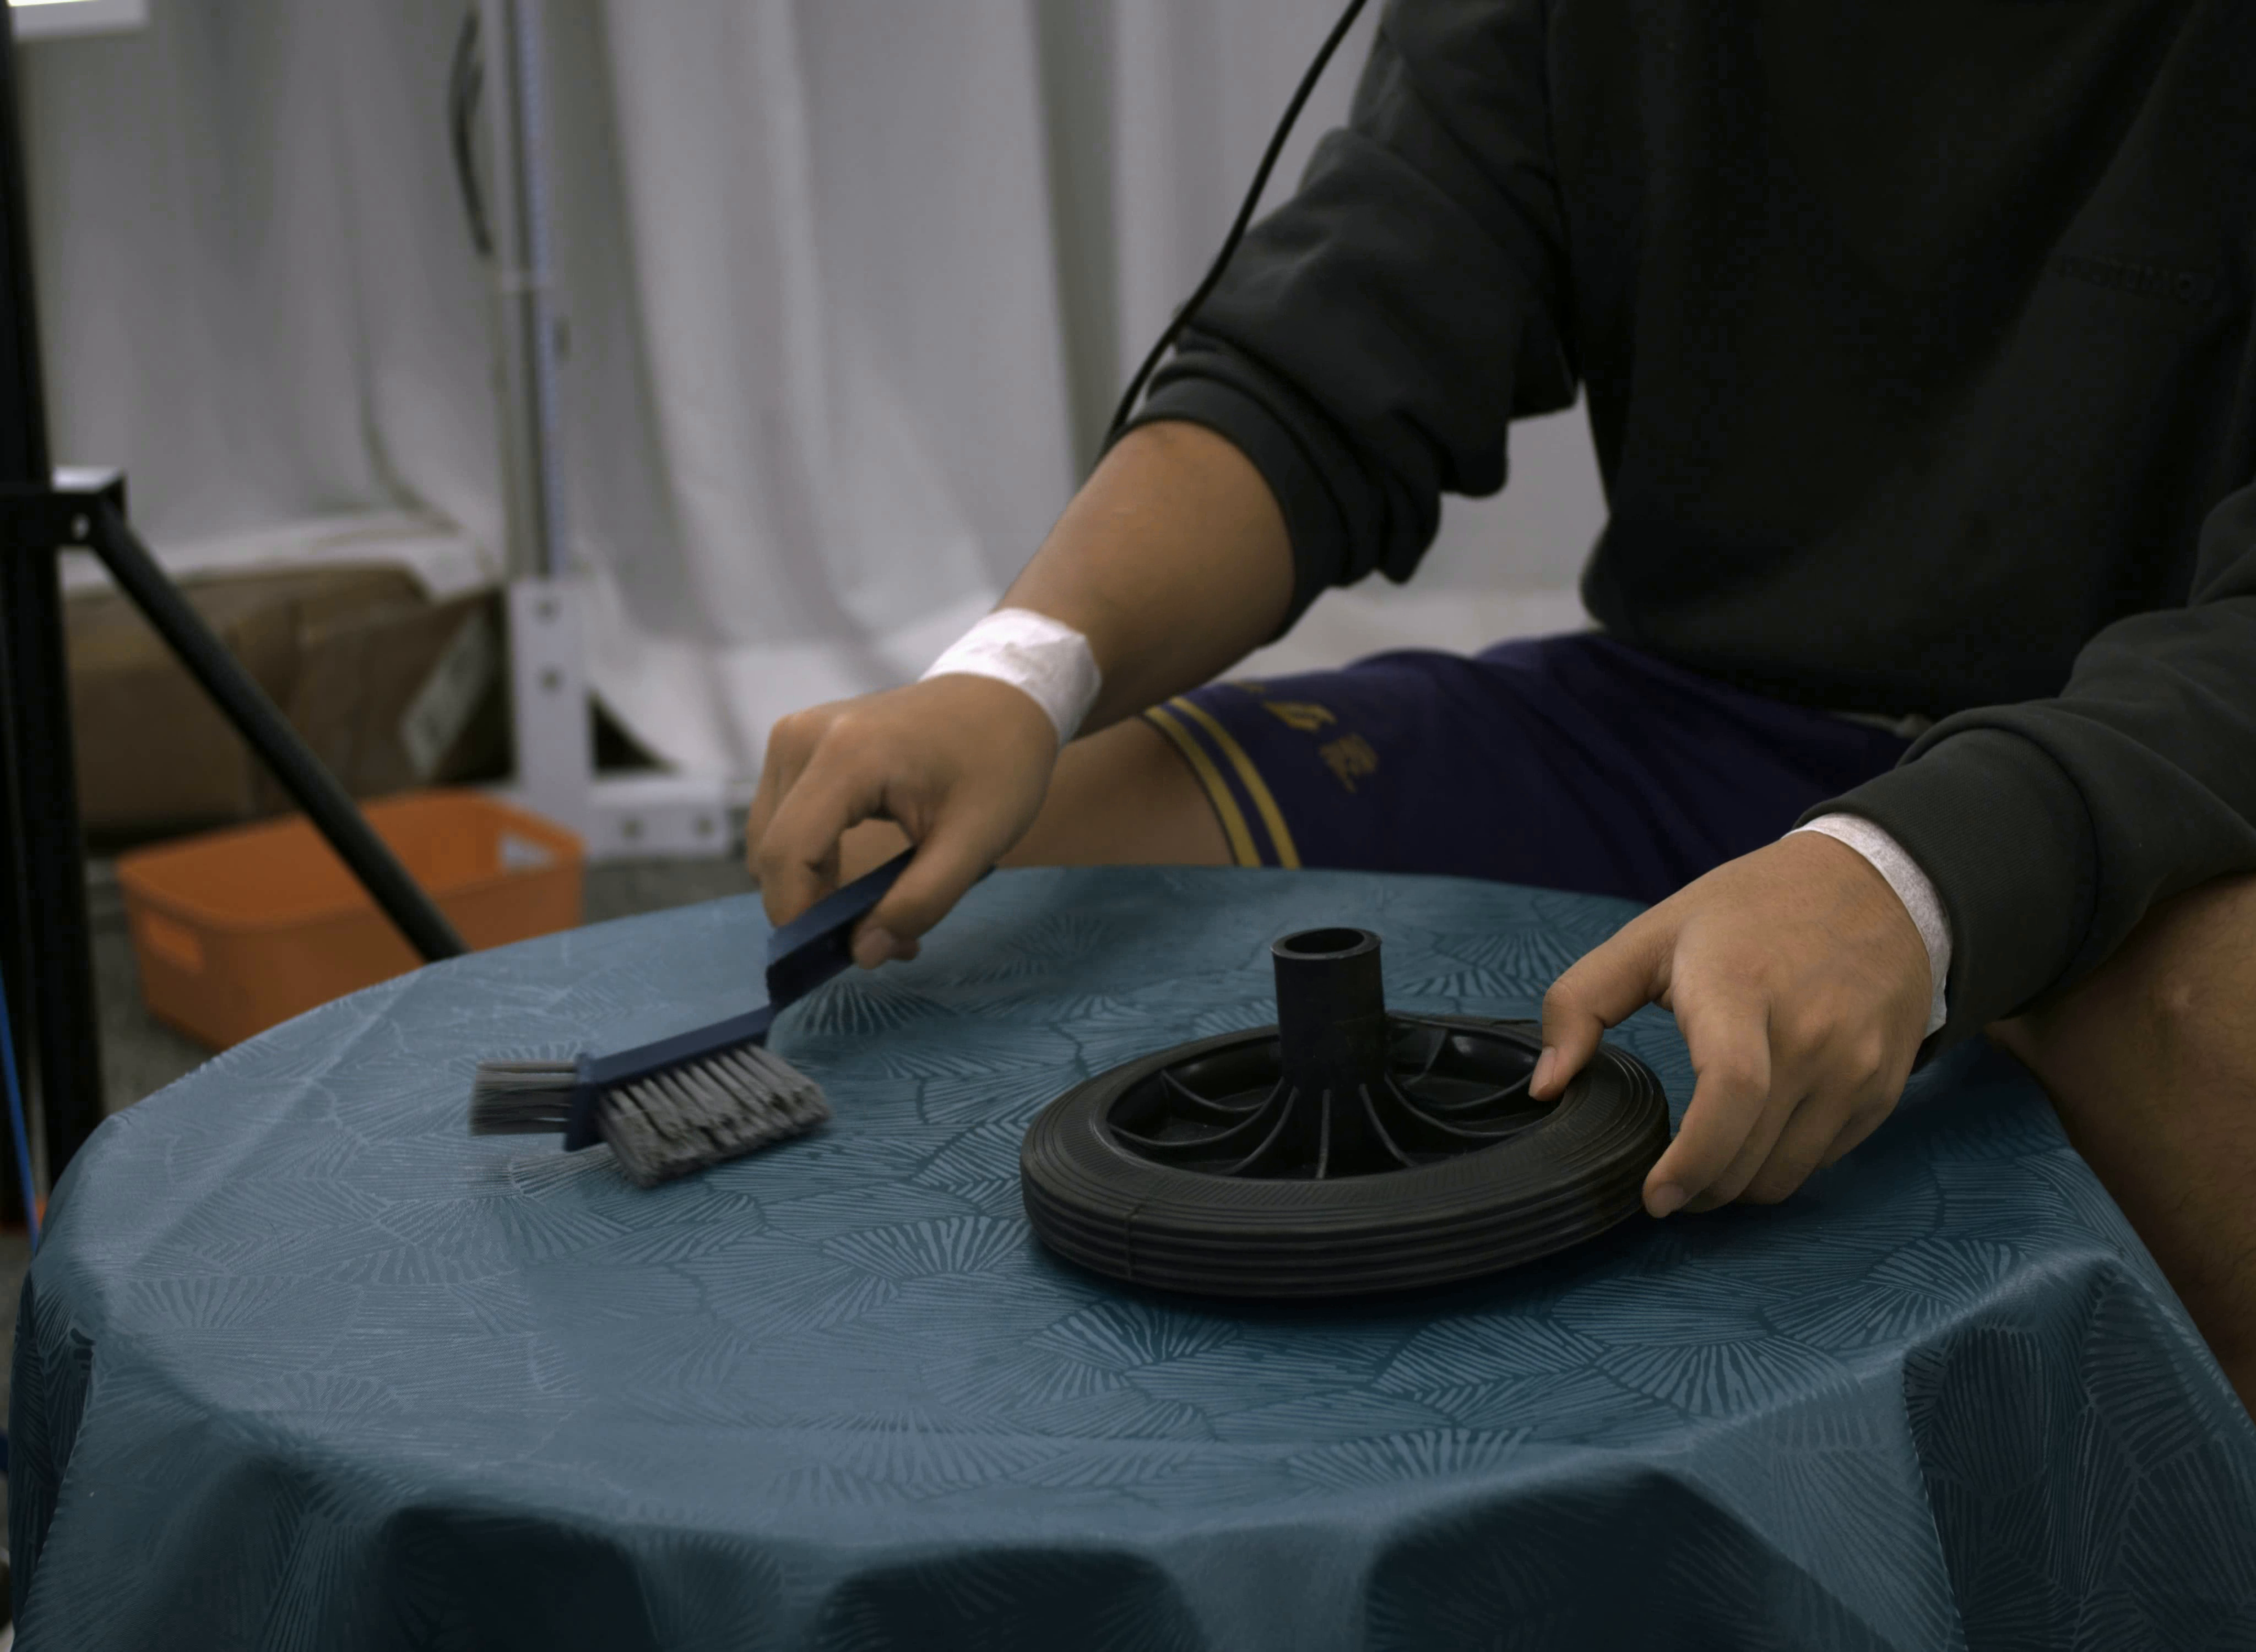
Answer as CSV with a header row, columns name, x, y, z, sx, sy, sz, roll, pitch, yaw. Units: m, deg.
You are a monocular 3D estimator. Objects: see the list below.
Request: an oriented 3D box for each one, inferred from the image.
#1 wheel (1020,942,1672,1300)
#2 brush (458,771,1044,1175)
name,x,y,z,sx,sy,sz,roll,pitch,yaw
wheel,0.061,0.076,1.524,0.185,0.079,0.192,-9,15,-10
brush,-0.110,0.040,1.700,0.096,0.033,0.270,19,30,15
